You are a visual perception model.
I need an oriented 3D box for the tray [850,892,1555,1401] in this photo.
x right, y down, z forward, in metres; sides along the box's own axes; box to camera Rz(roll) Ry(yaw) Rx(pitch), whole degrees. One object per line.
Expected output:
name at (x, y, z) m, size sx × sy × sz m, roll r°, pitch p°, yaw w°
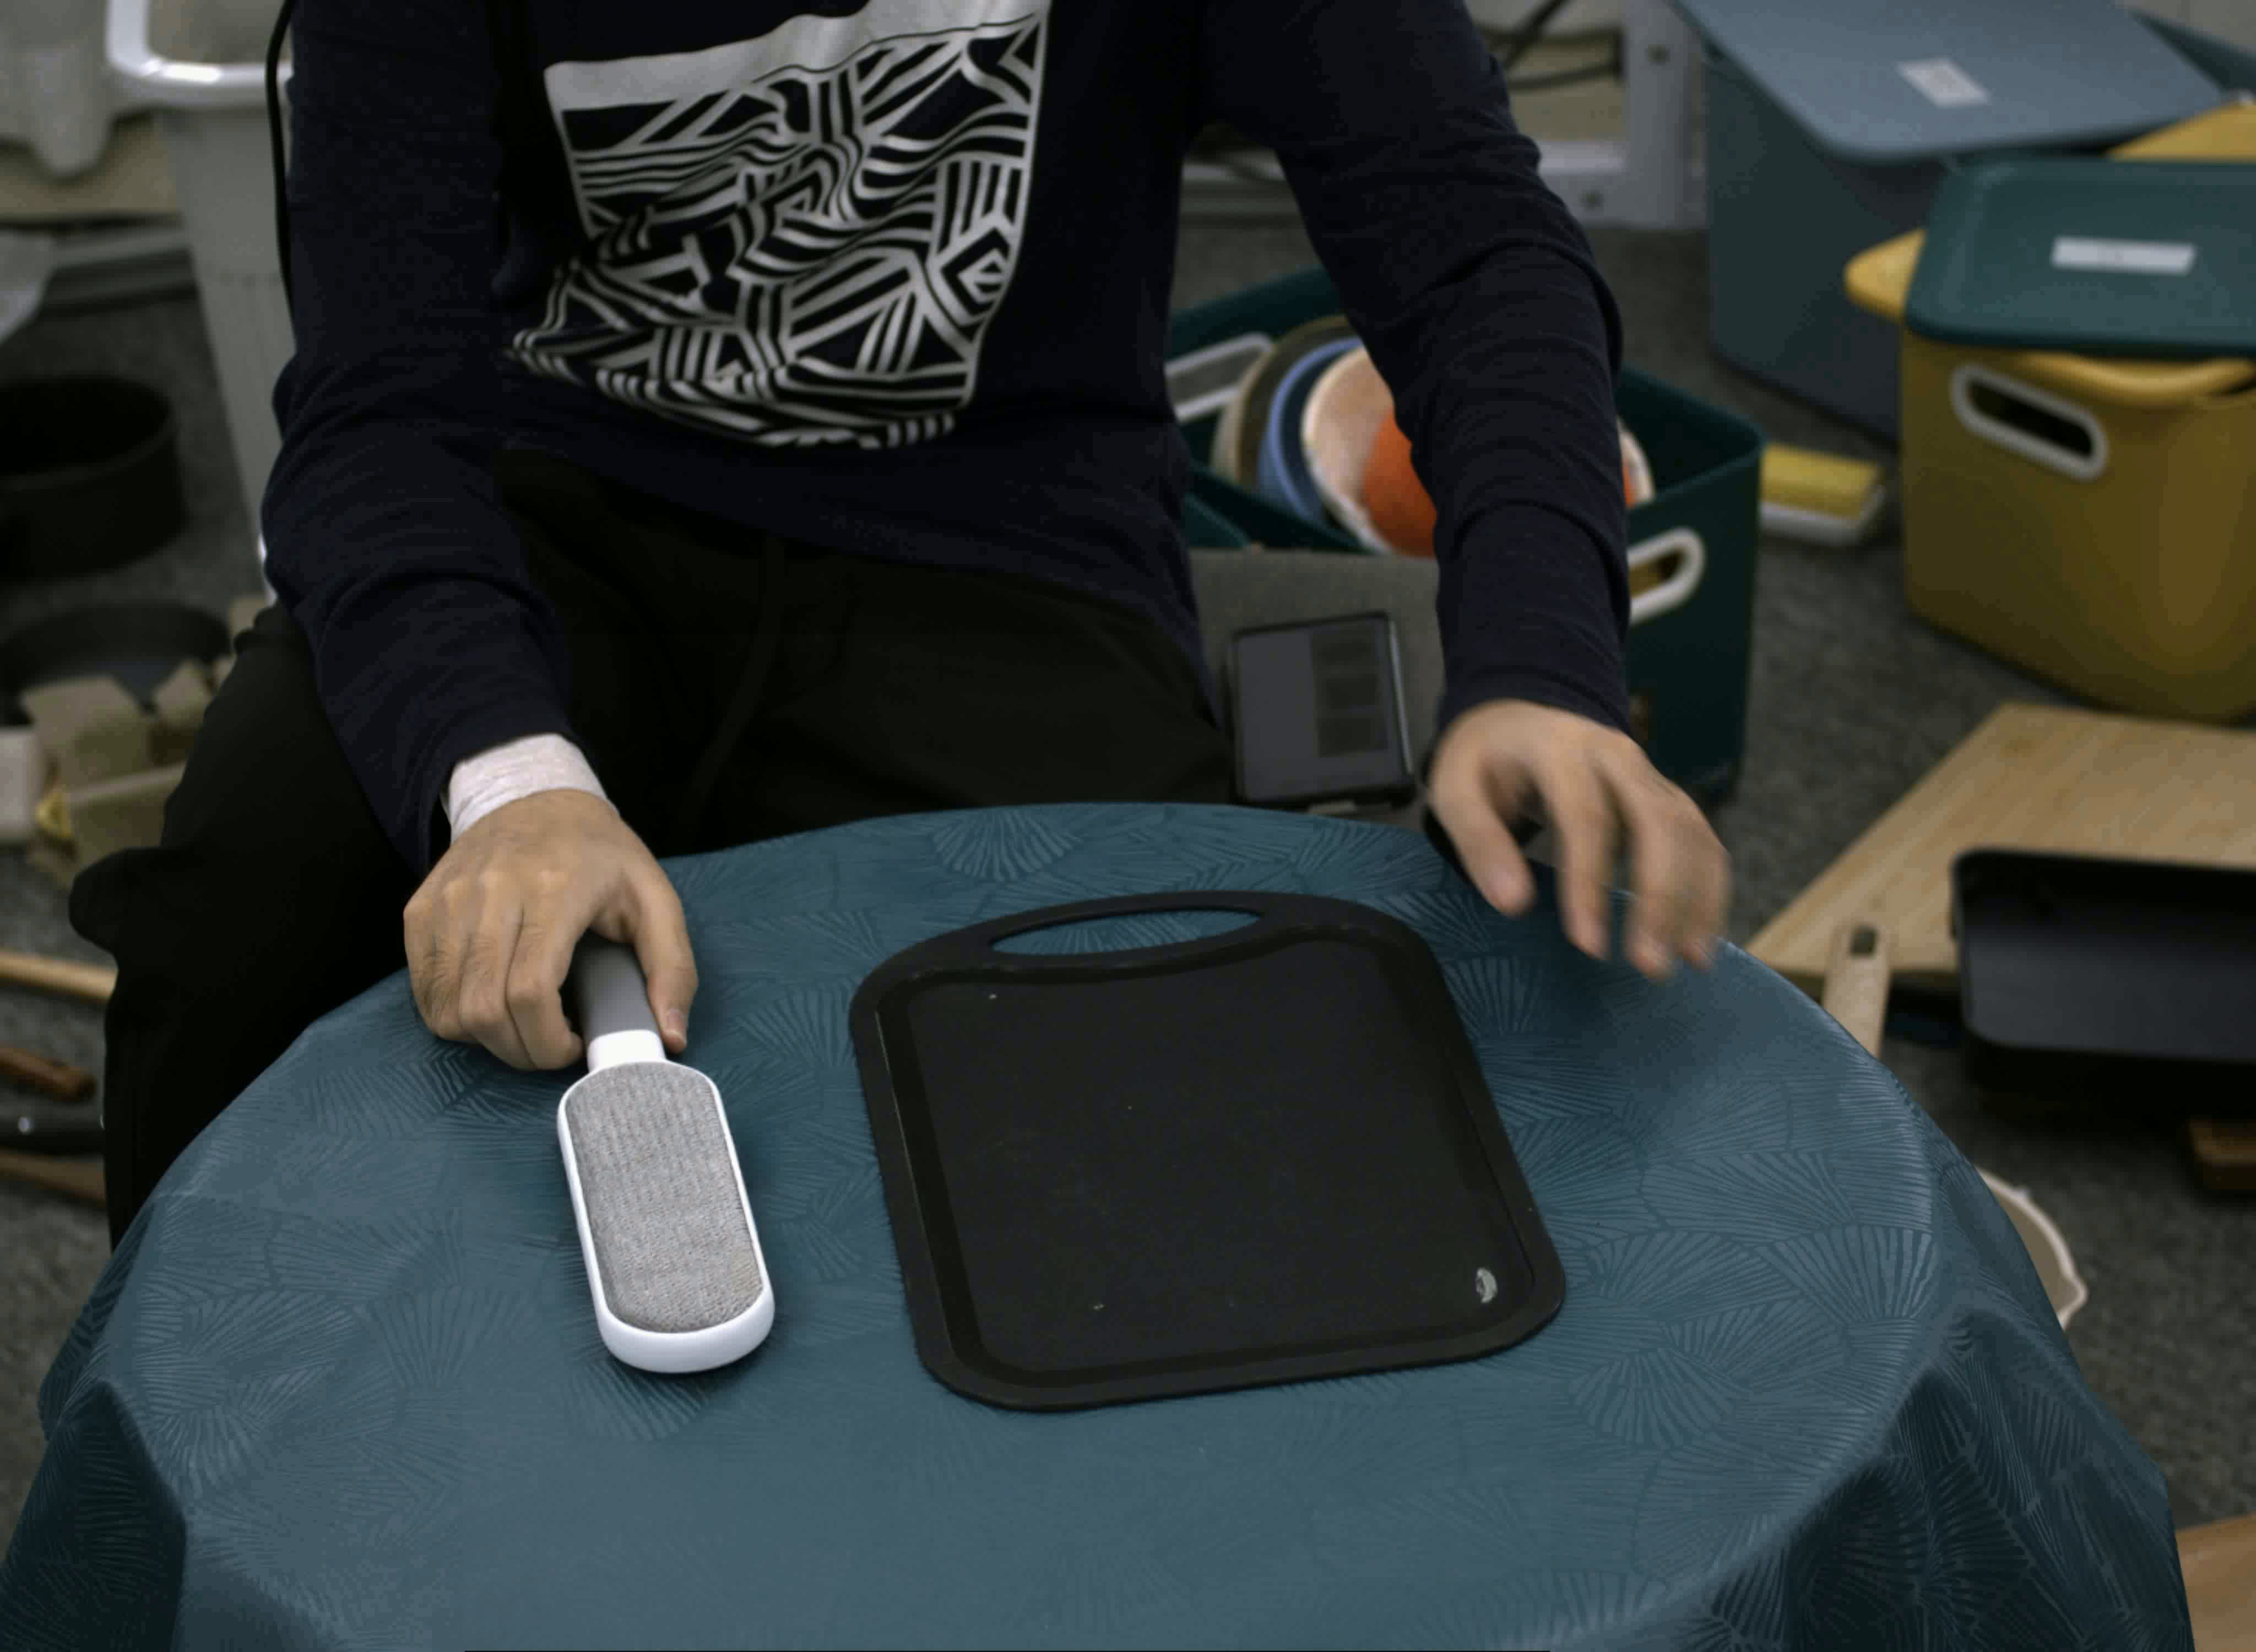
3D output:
tray at (0.017, 0.099, 1.897) m, size 0.210 × 0.009 × 0.329 m, roll -5°, pitch 27°, yaw -6°

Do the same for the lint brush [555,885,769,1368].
lint brush at (-0.164, 0.096, 1.897) m, size 0.060 × 0.021 × 0.312 m, roll -12°, pitch 28°, yaw -6°
